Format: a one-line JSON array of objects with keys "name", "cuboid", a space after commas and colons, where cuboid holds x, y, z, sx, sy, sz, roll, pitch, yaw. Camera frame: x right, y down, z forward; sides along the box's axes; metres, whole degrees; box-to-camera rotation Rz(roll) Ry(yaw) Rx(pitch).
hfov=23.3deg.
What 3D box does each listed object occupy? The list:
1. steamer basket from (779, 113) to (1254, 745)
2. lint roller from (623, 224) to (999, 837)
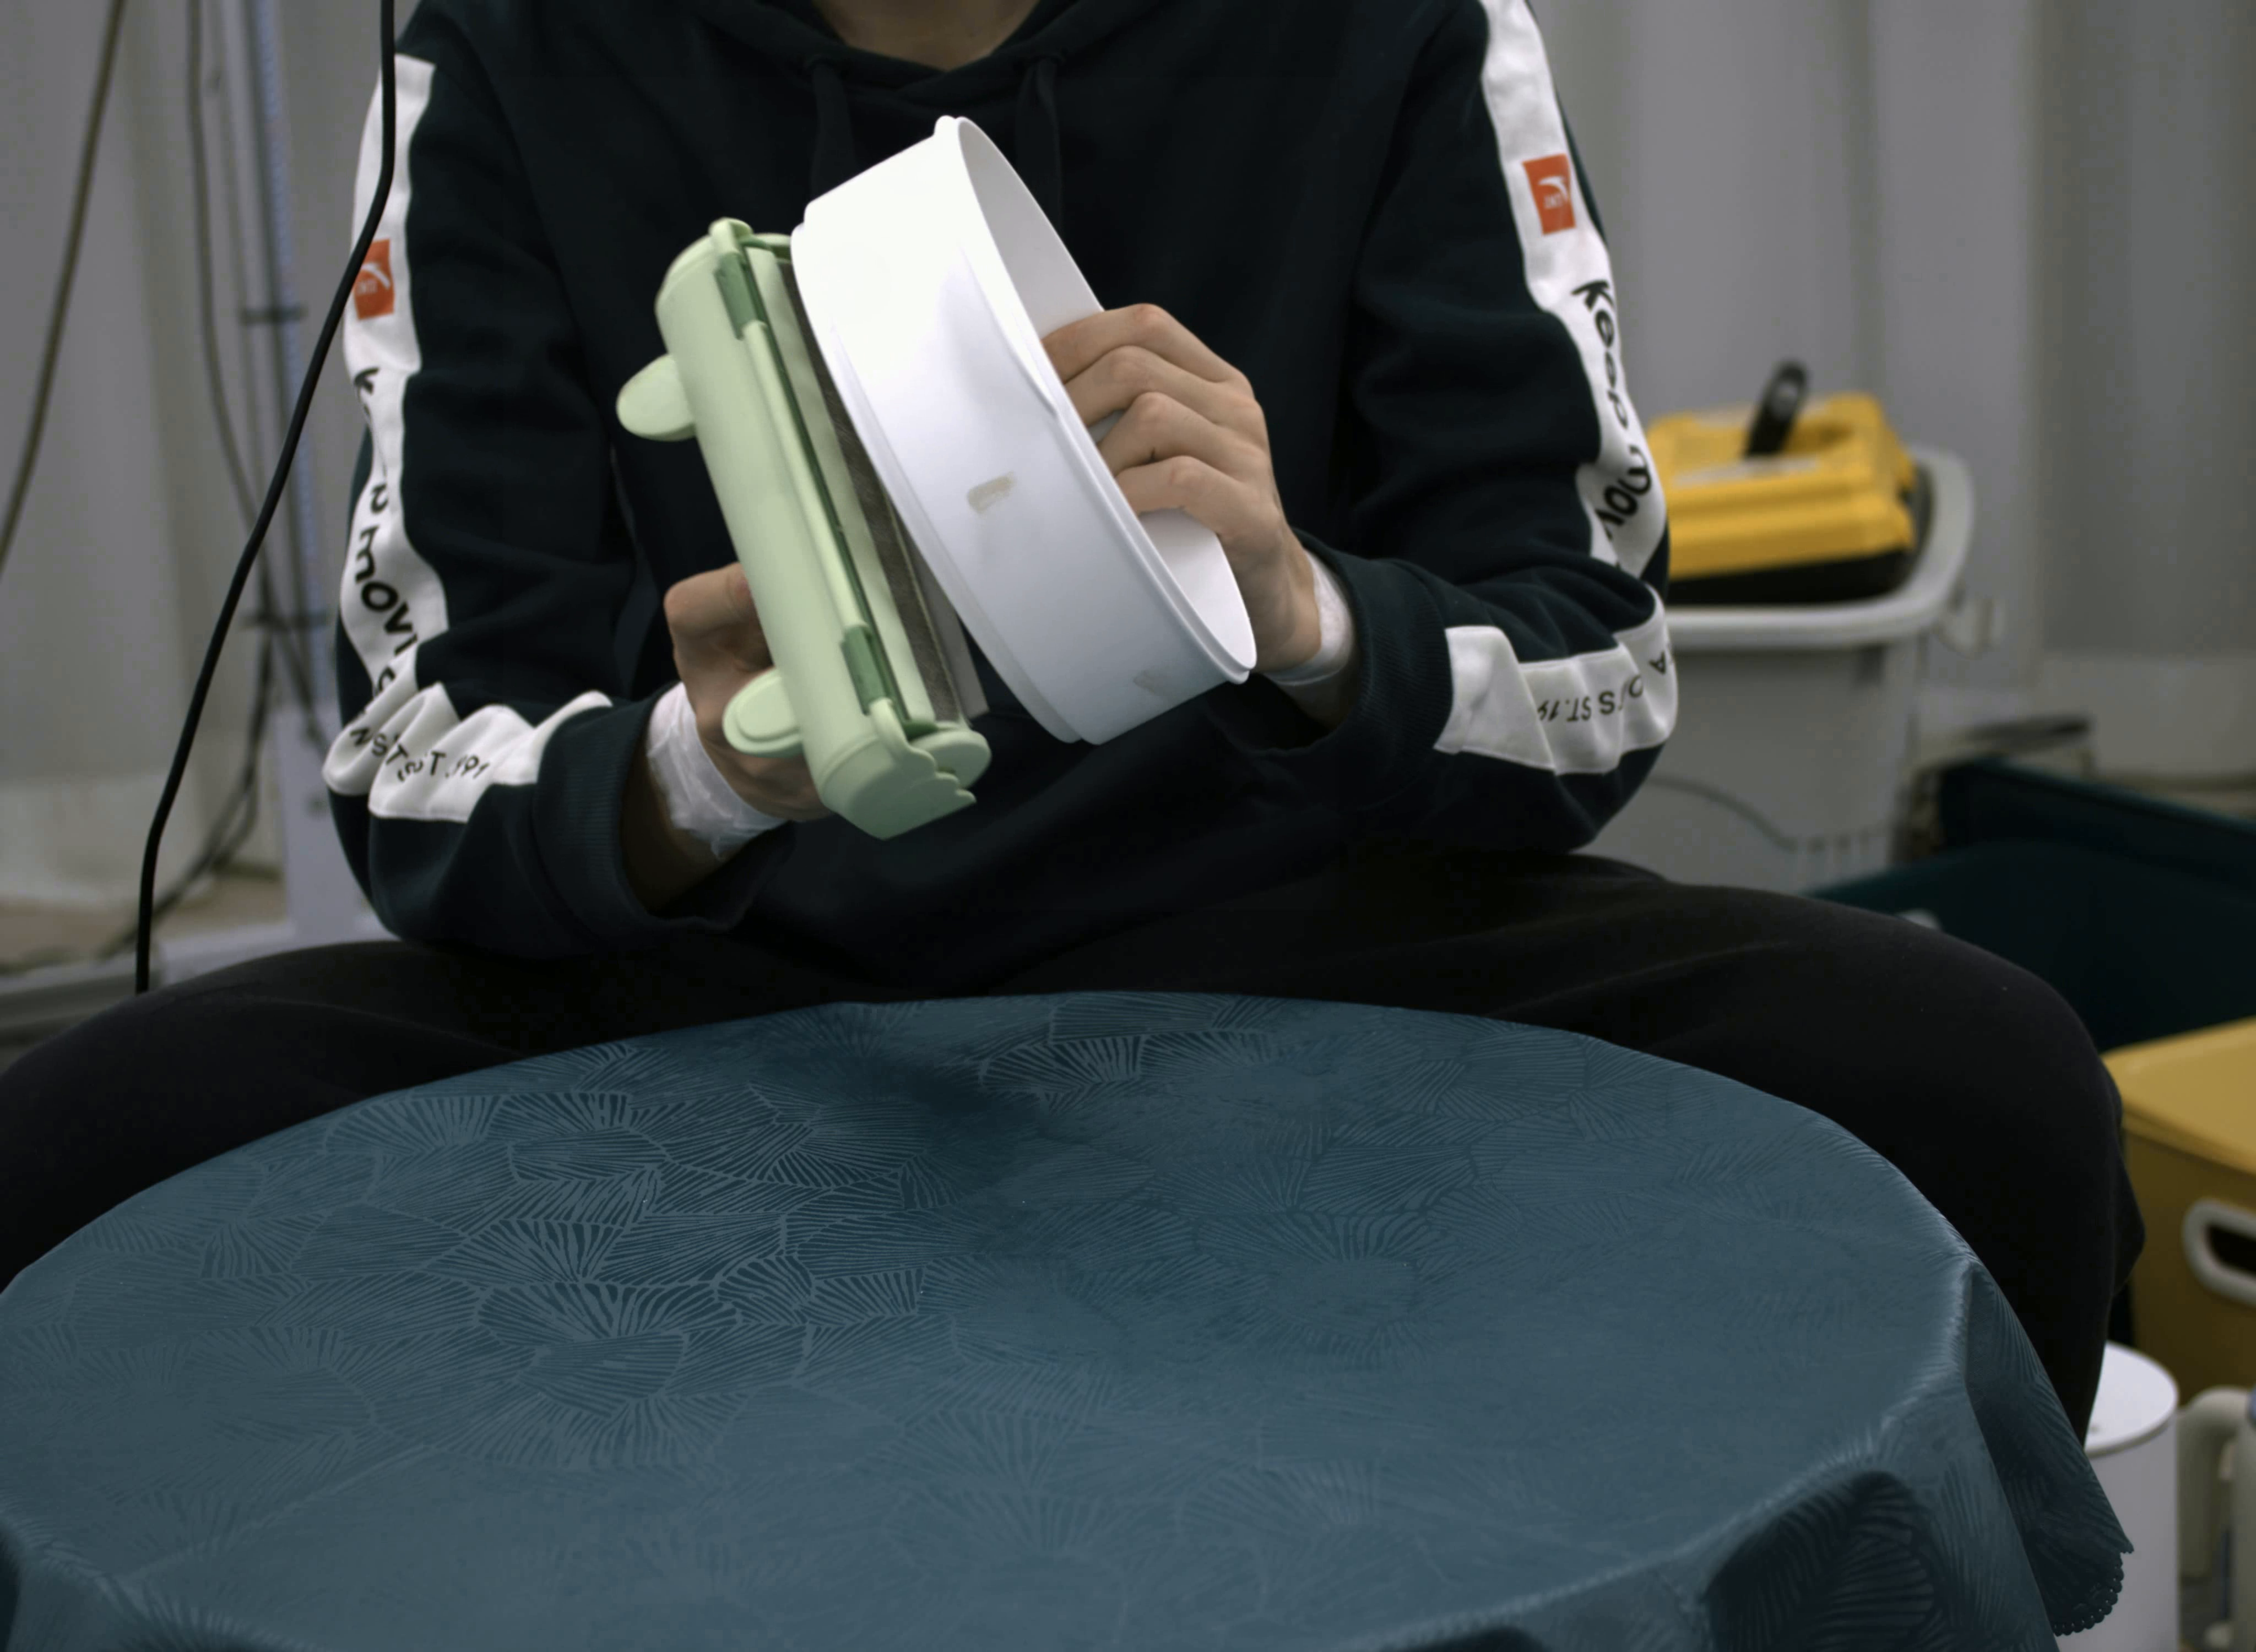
[{"name": "steamer basket", "cuboid": [-0.037, -0.121, 1.718, 0.069, 0.204, 0.229, -29, -18, 10]}, {"name": "lint roller", "cuboid": [-0.111, -0.065, 1.746, 0.082, 0.201, 0.181, -12, -25, -19]}]
